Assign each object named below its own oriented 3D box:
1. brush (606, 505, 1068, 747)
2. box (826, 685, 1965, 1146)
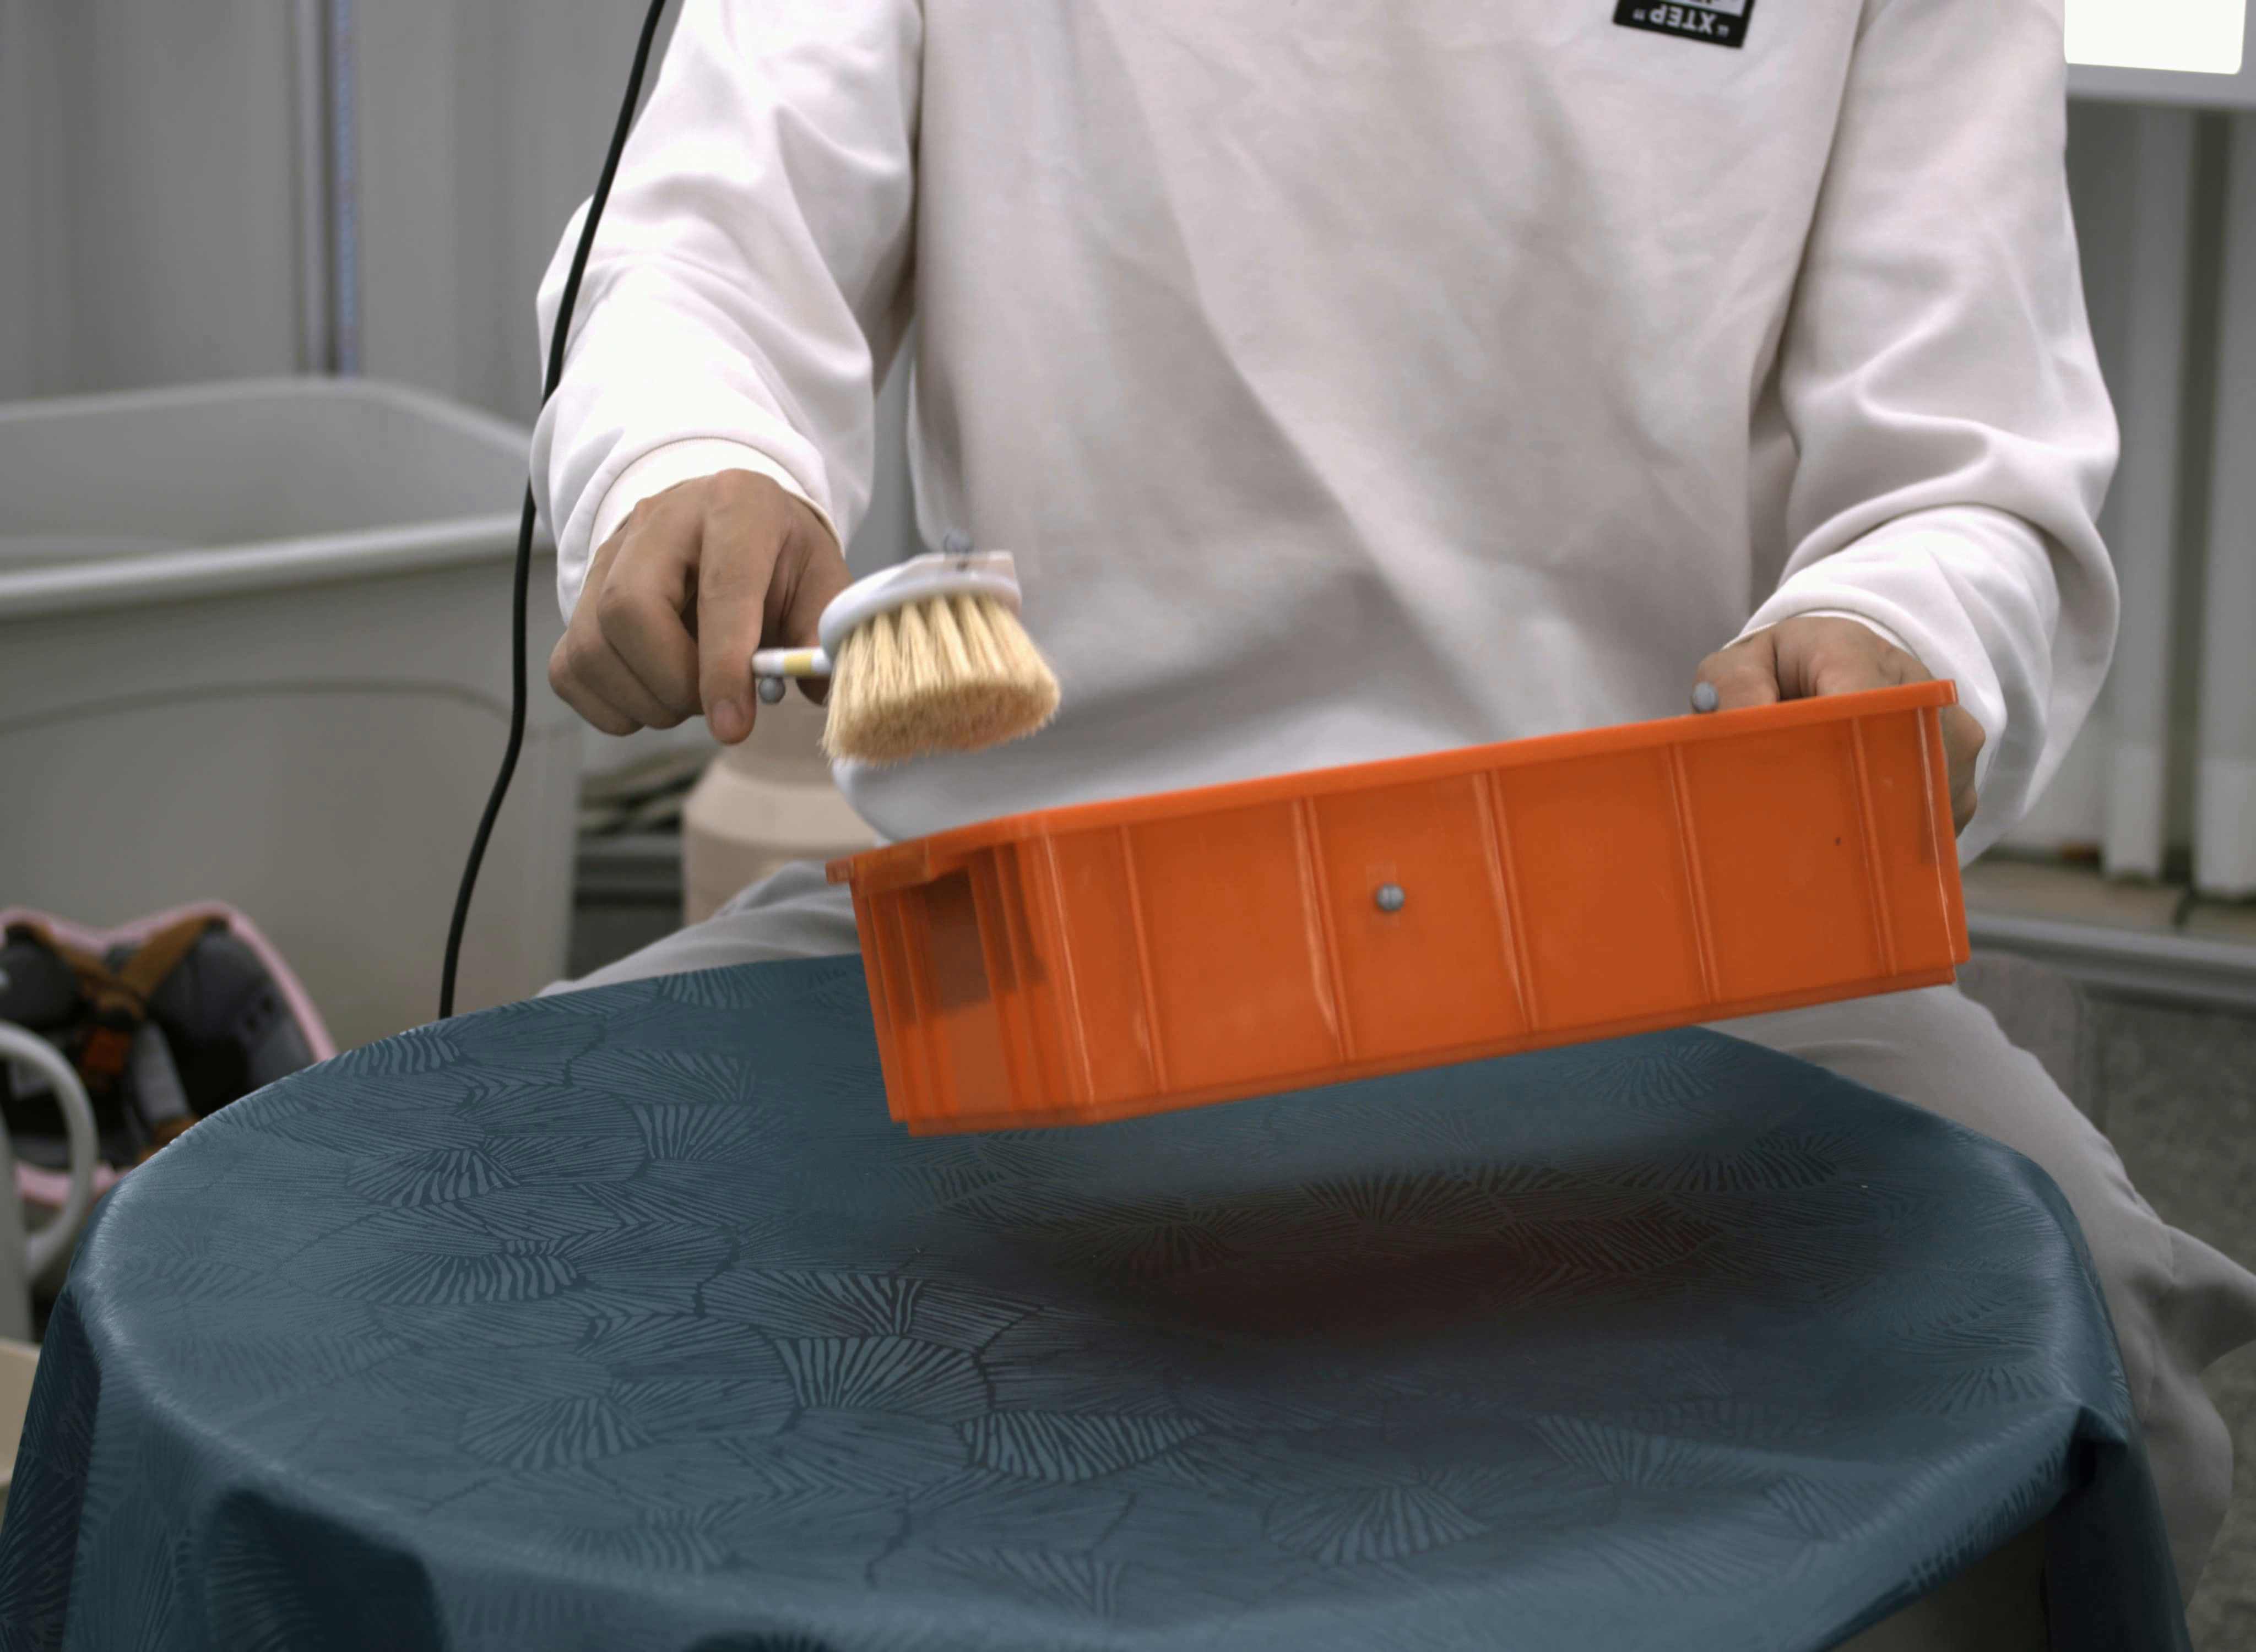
[{"bbox_3d":[-0.097,-0.038,1.589,0.069,0.056,0.265,10,-16,-27],"label":"brush"},{"bbox_3d":[0.078,0.030,1.560,0.304,0.096,0.205,-7,-3,-18],"label":"box"}]
